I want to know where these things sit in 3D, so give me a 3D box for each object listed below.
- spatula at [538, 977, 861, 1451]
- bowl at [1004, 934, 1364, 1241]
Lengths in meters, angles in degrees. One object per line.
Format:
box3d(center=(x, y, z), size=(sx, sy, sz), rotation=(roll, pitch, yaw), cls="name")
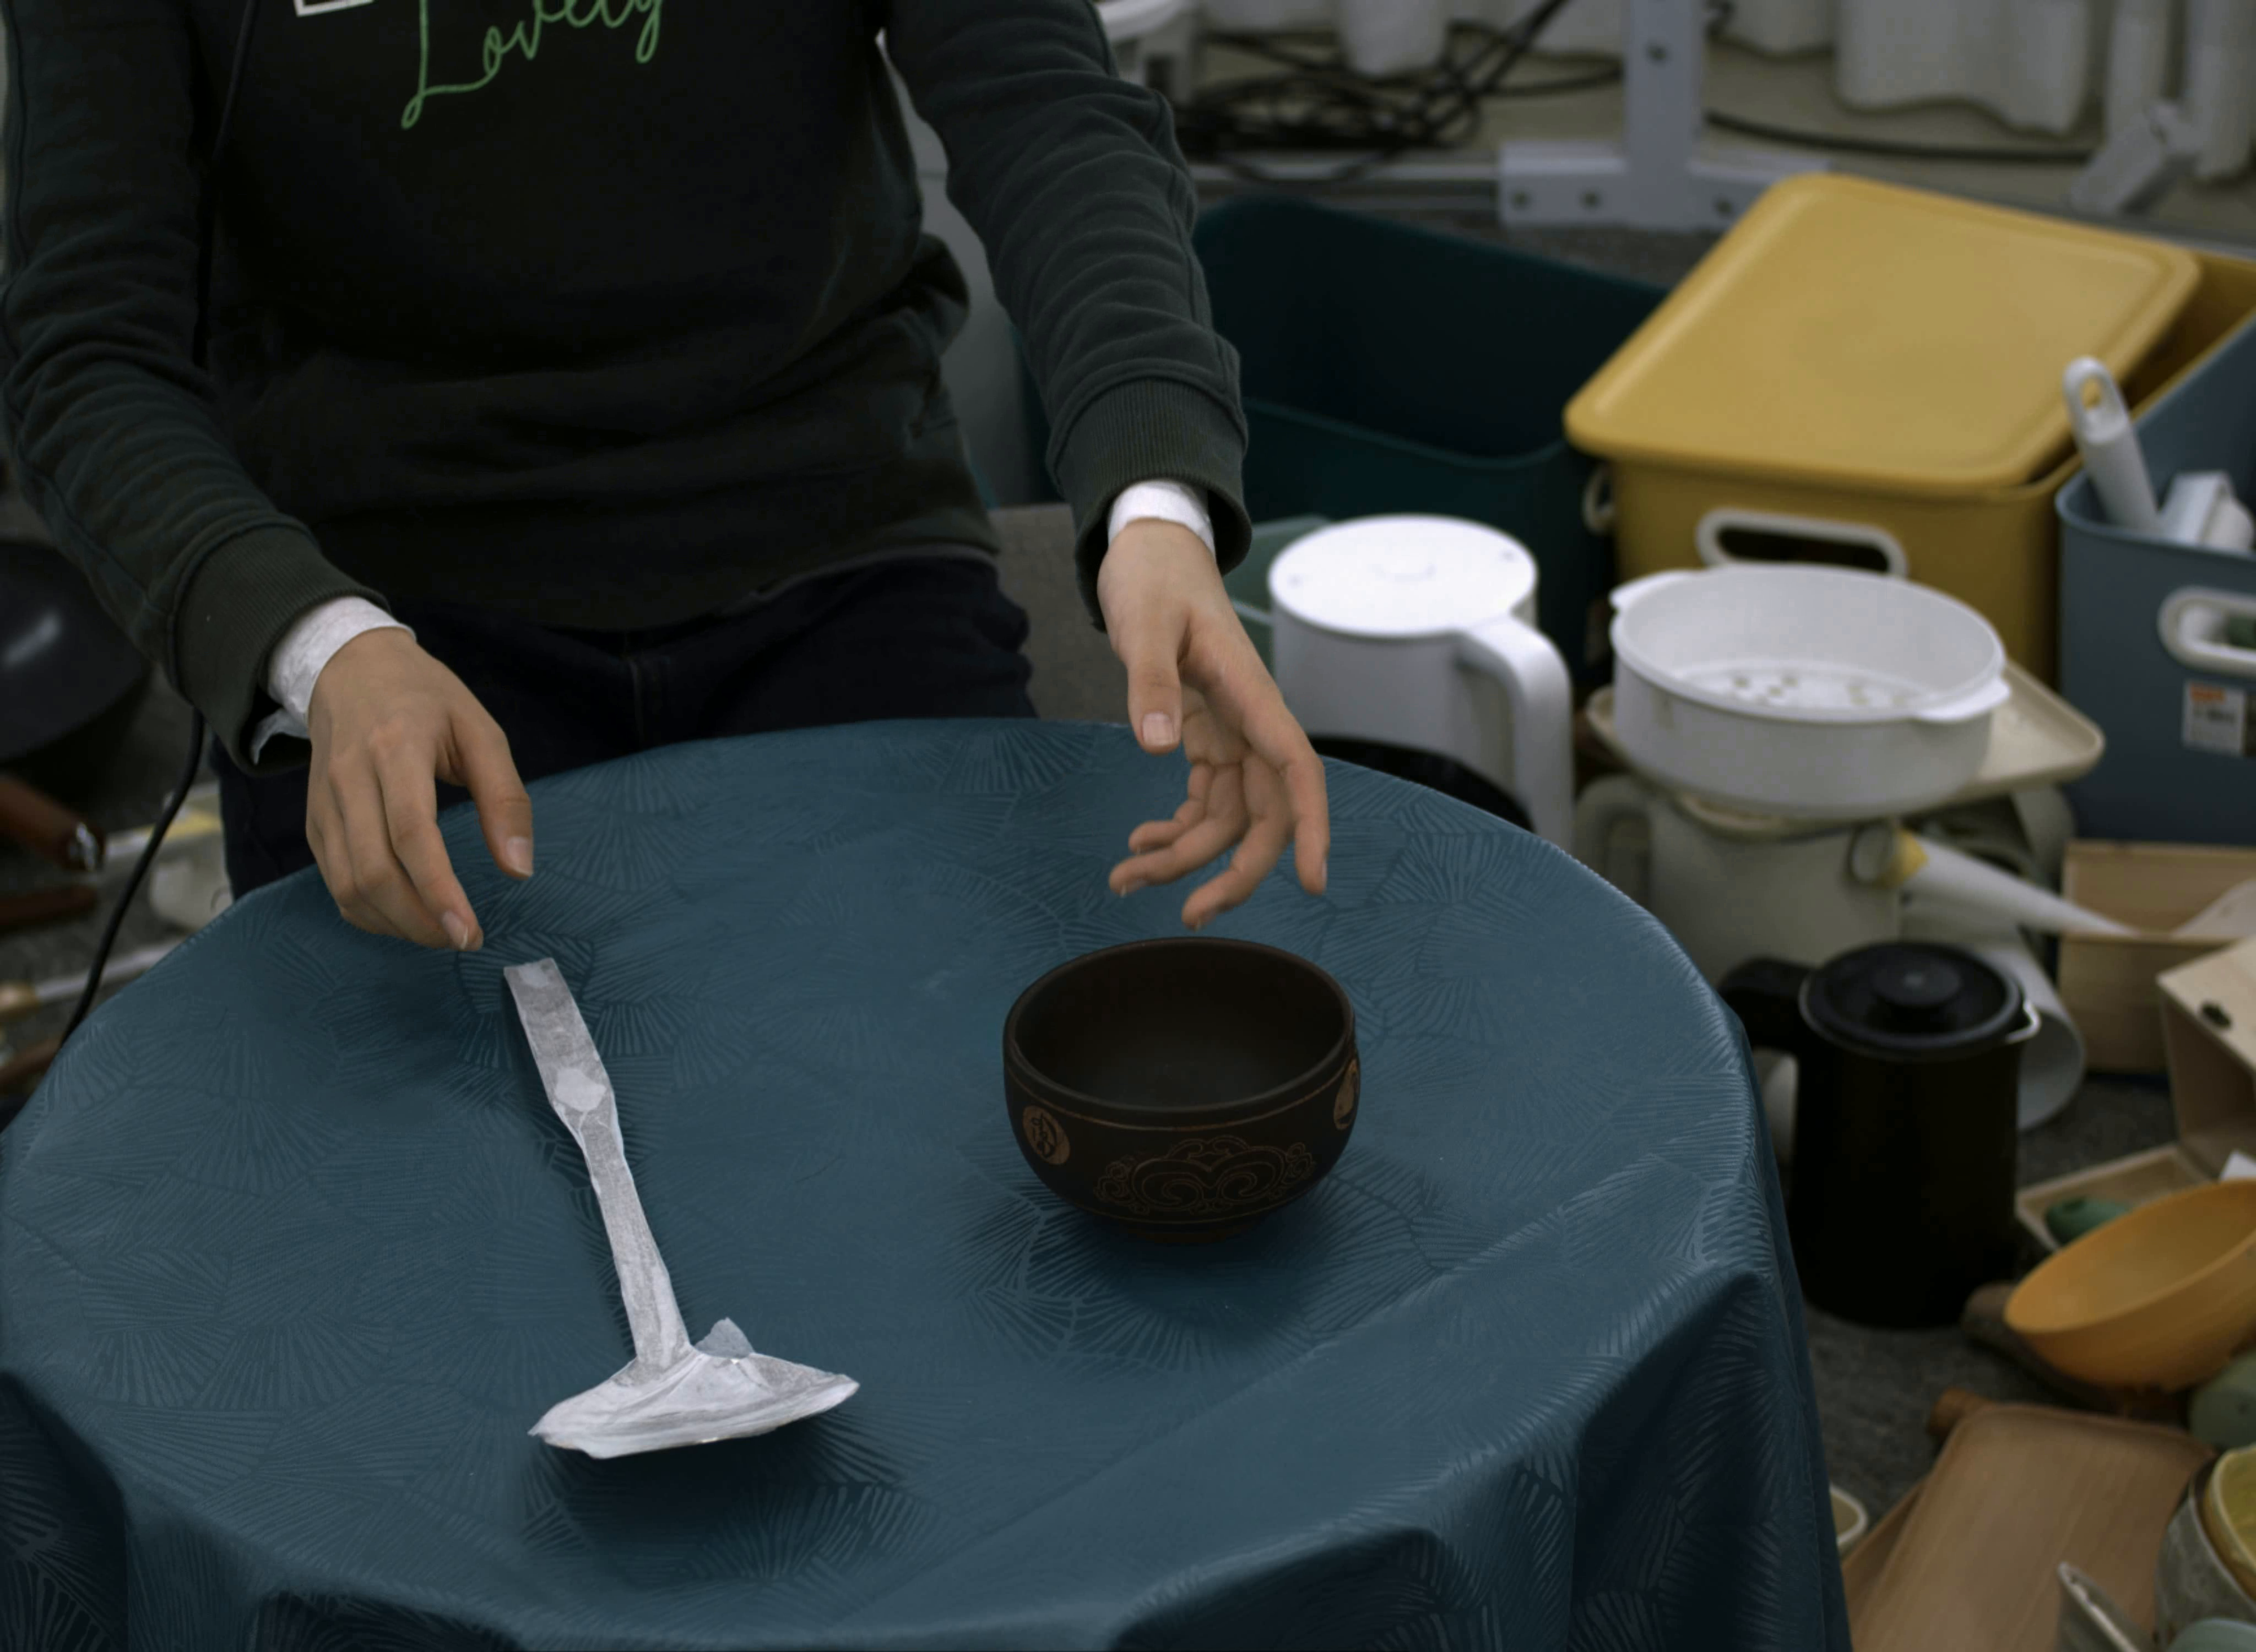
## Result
box3d(center=(-0.163, 0.119, 1.841), size=(0.098, 0.044, 0.369), rotation=(-10, 28, -10), cls="spatula")
box3d(center=(0.019, 0.092, 1.839), size=(0.117, 0.069, 0.120), rotation=(-1, 26, 1), cls="bowl")
